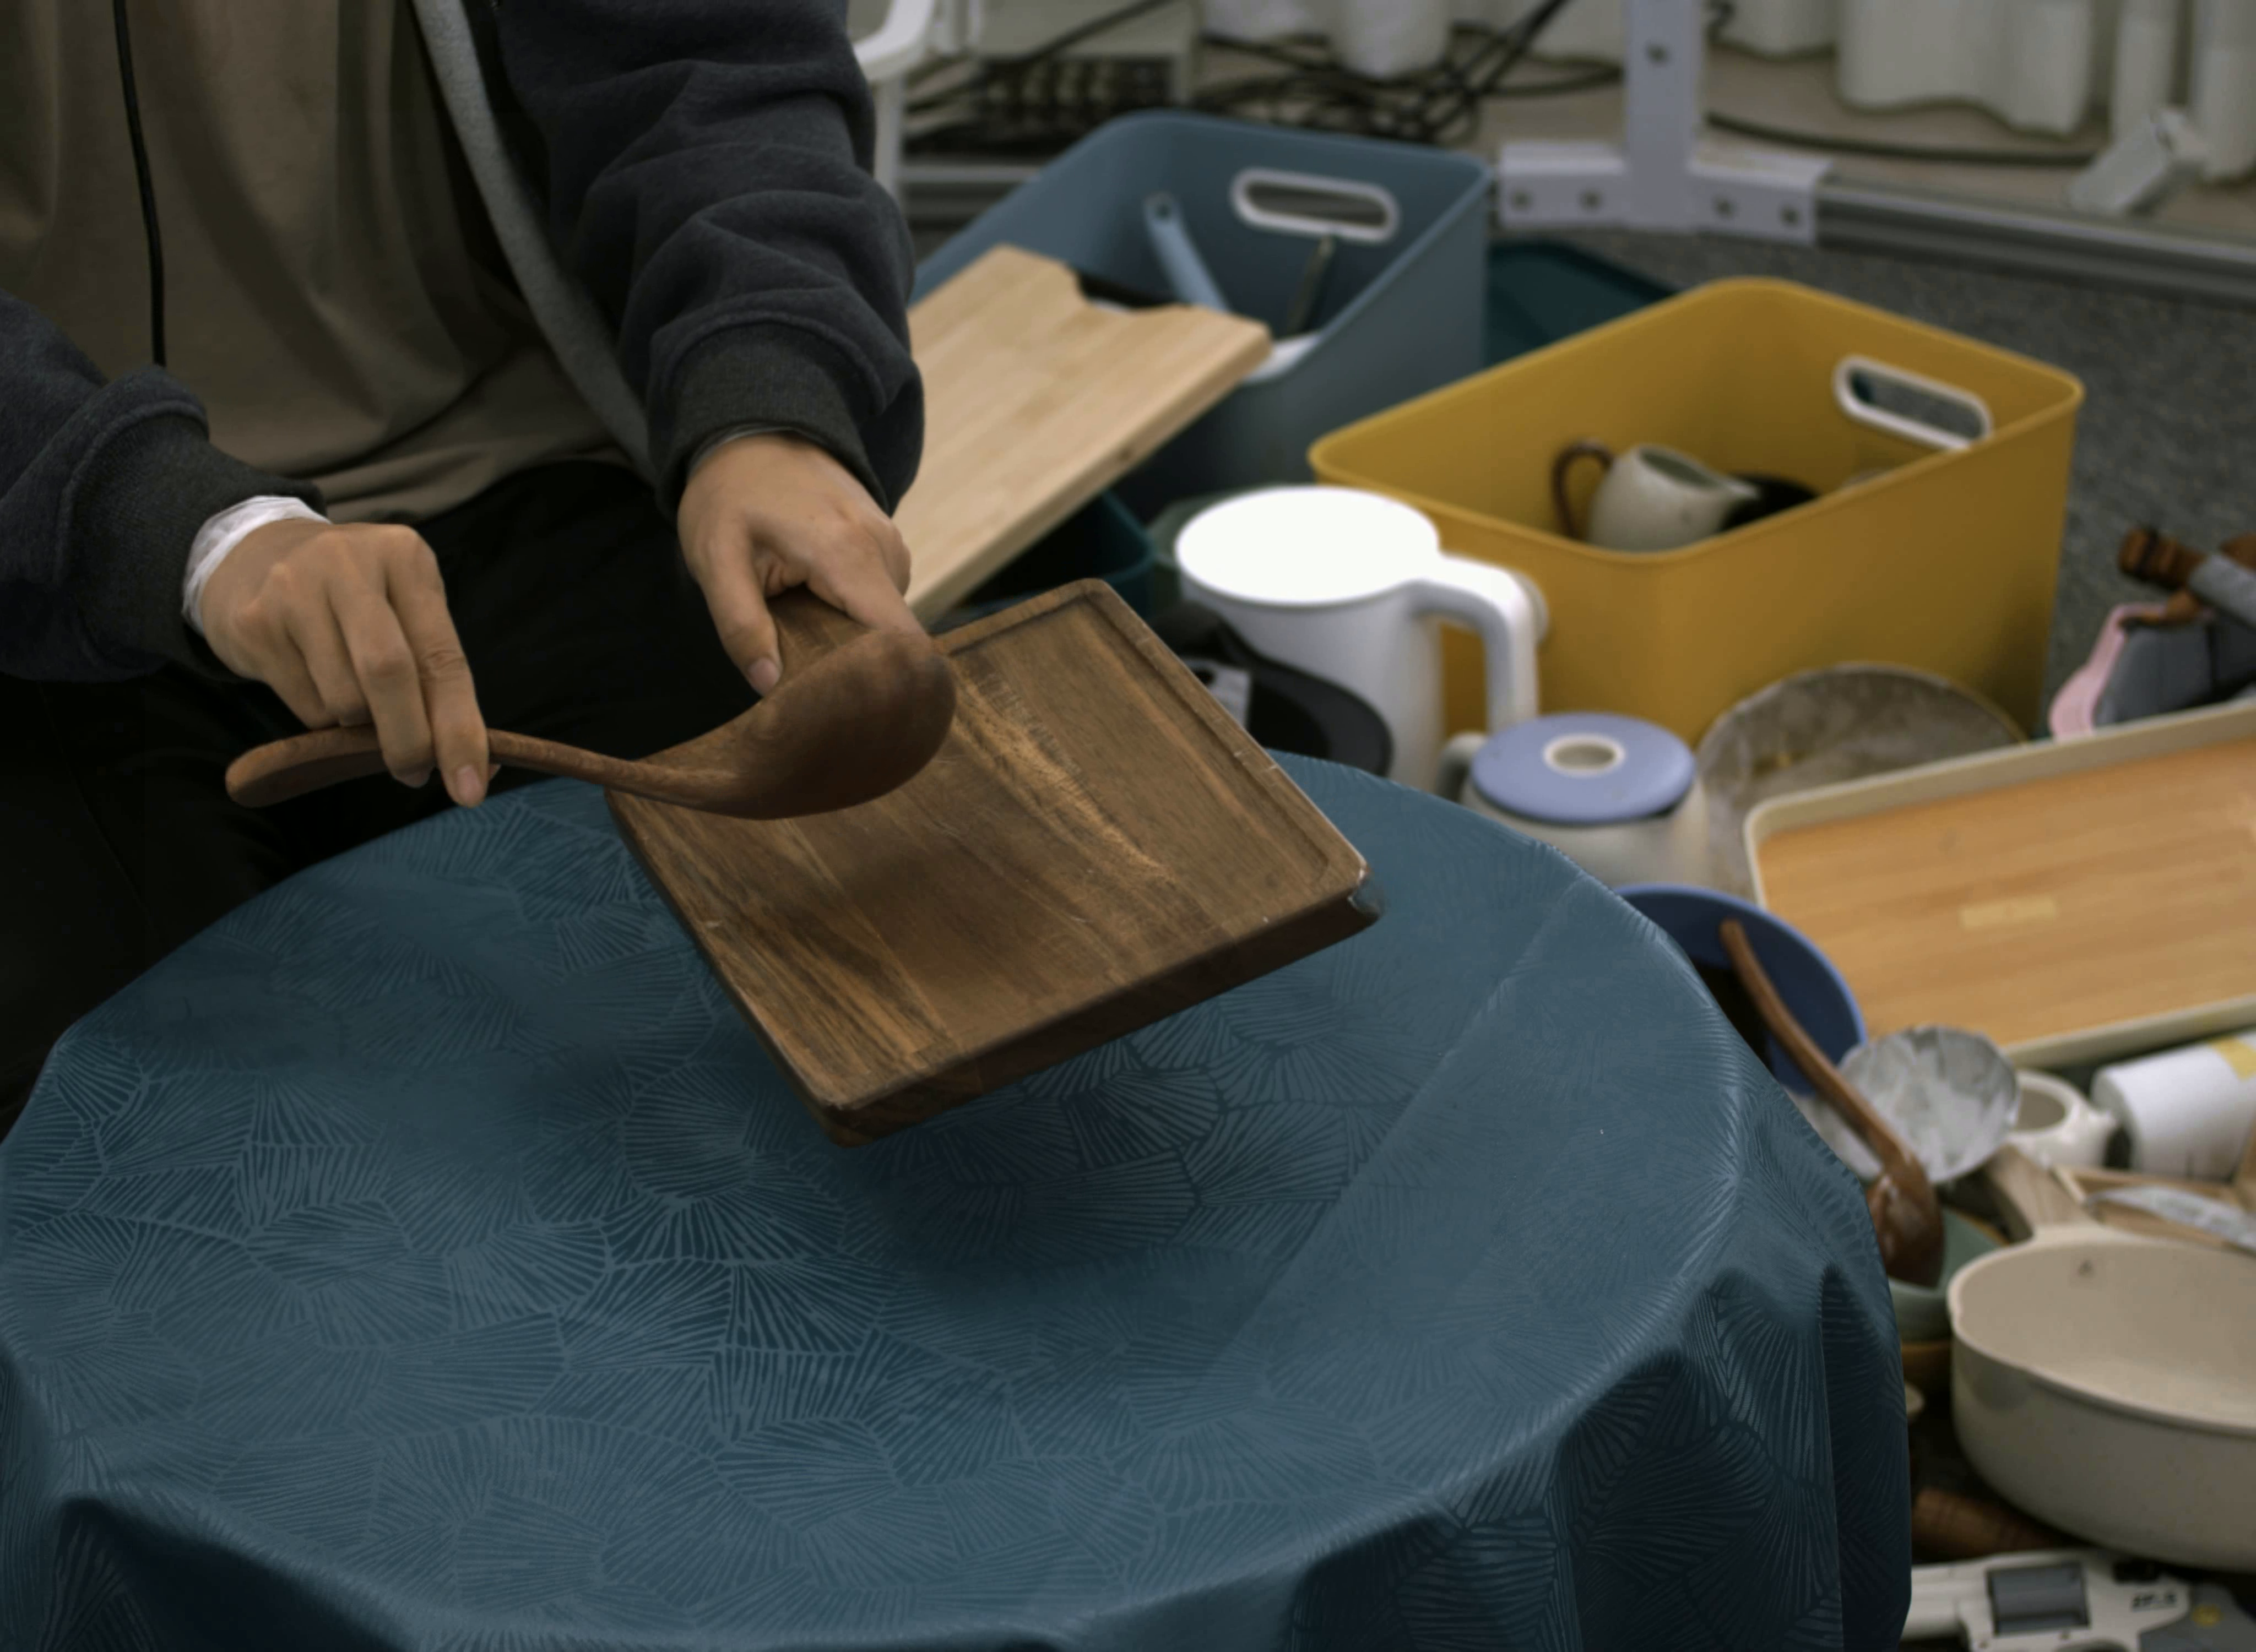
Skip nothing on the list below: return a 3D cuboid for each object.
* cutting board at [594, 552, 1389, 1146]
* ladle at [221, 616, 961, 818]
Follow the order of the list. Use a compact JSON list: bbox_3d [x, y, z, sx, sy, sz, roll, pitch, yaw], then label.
[{"bbox_3d":[-0.069,-0.016,1.915,0.201,0.023,0.355,-22,32,-13],"label":"cutting board"},{"bbox_3d":[-0.180,-0.036,1.871,0.258,0.076,0.066,1,67,19],"label":"ladle"}]
